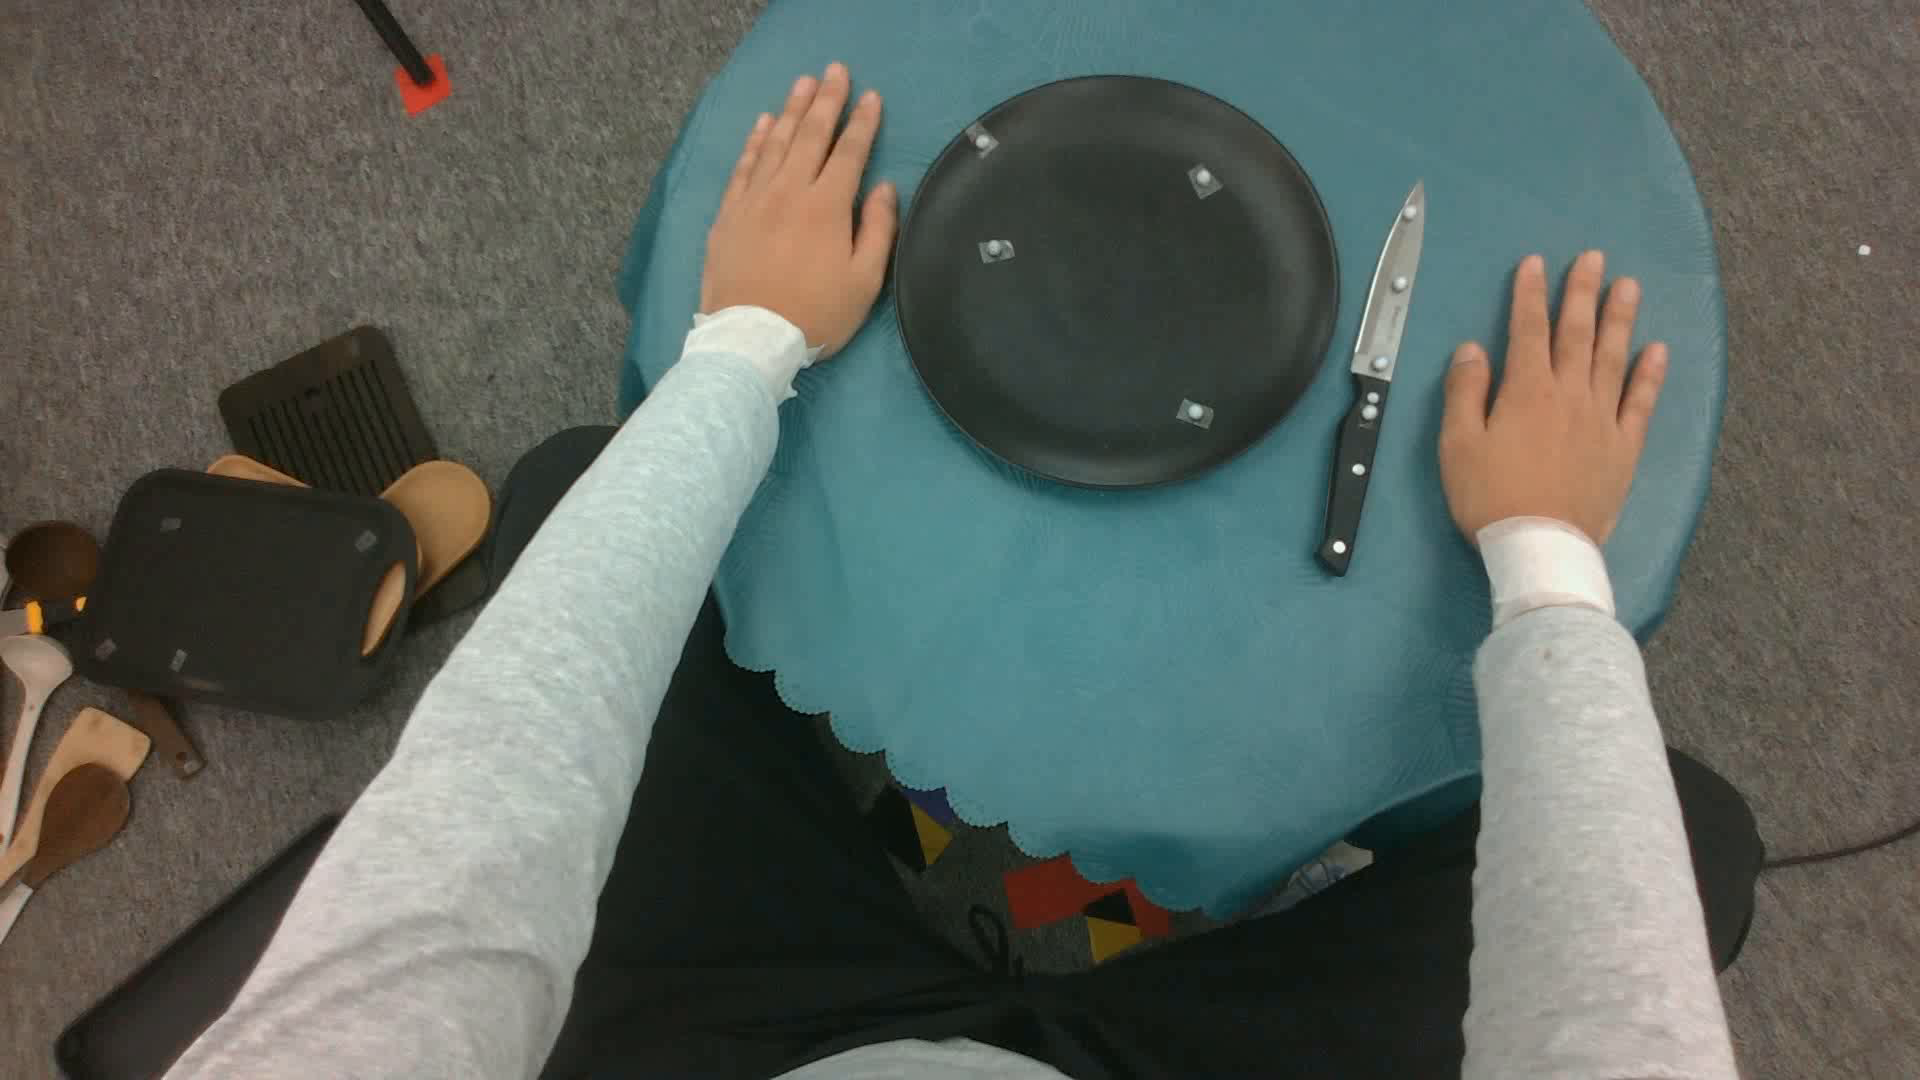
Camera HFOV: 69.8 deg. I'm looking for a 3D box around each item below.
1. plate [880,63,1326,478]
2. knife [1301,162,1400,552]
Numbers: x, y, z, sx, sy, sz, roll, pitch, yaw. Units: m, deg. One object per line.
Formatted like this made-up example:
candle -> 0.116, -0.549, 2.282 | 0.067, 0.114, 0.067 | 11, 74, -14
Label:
plate -> 0.078, -0.150, 0.759 | 0.244, 0.023, 0.245 | 0, 77, 1
knife -> 0.219, -0.104, 0.753 | 0.024, 0.016, 0.239 | 14, 75, 3
